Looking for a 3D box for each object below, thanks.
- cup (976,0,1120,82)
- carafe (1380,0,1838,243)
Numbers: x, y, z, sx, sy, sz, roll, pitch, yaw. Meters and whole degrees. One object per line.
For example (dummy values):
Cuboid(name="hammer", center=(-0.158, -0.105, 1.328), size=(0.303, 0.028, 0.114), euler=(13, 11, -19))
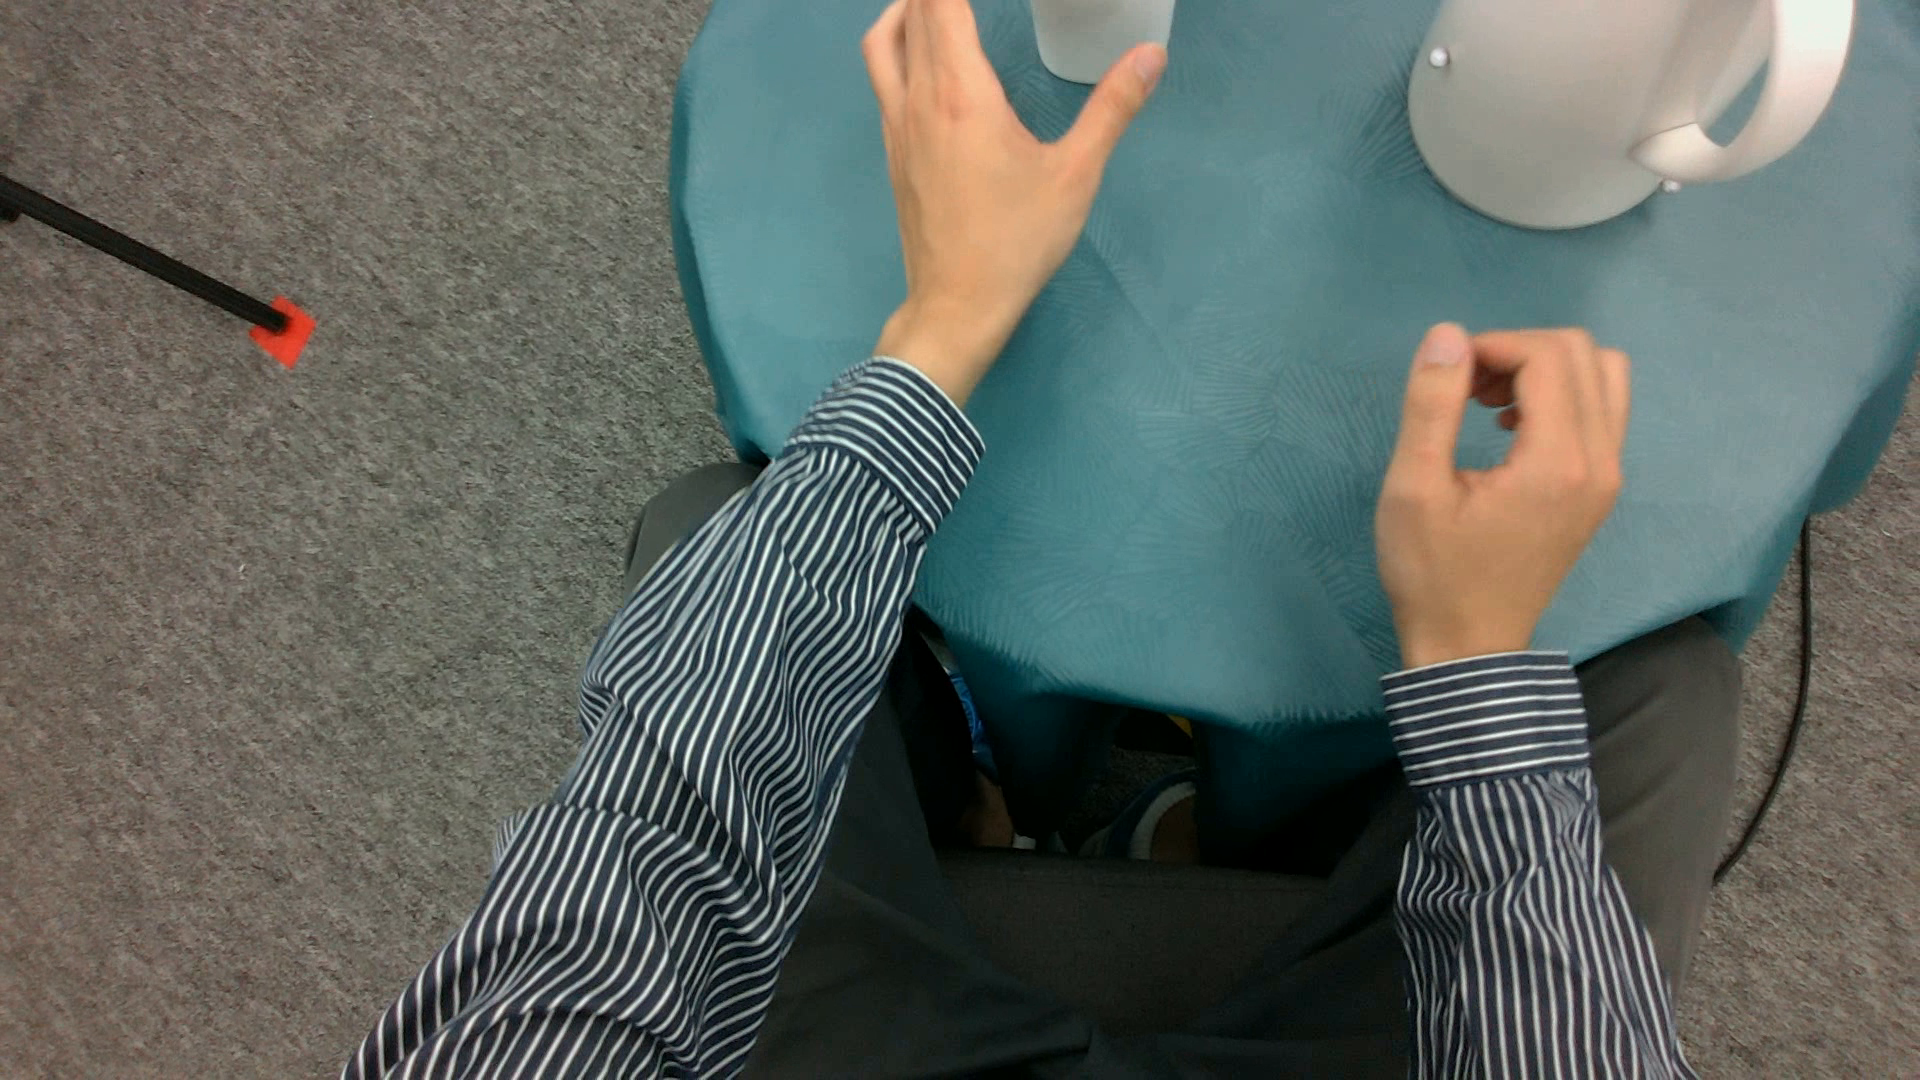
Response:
Cuboid(name="cup", center=(0.040, -0.276, 0.645), size=(0.081, 0.125, 0.082), euler=(-1, 80, 6))
Cuboid(name="carafe", center=(0.266, -0.215, 0.545), size=(0.132, 0.248, 0.168), euler=(-23, 76, 0))
